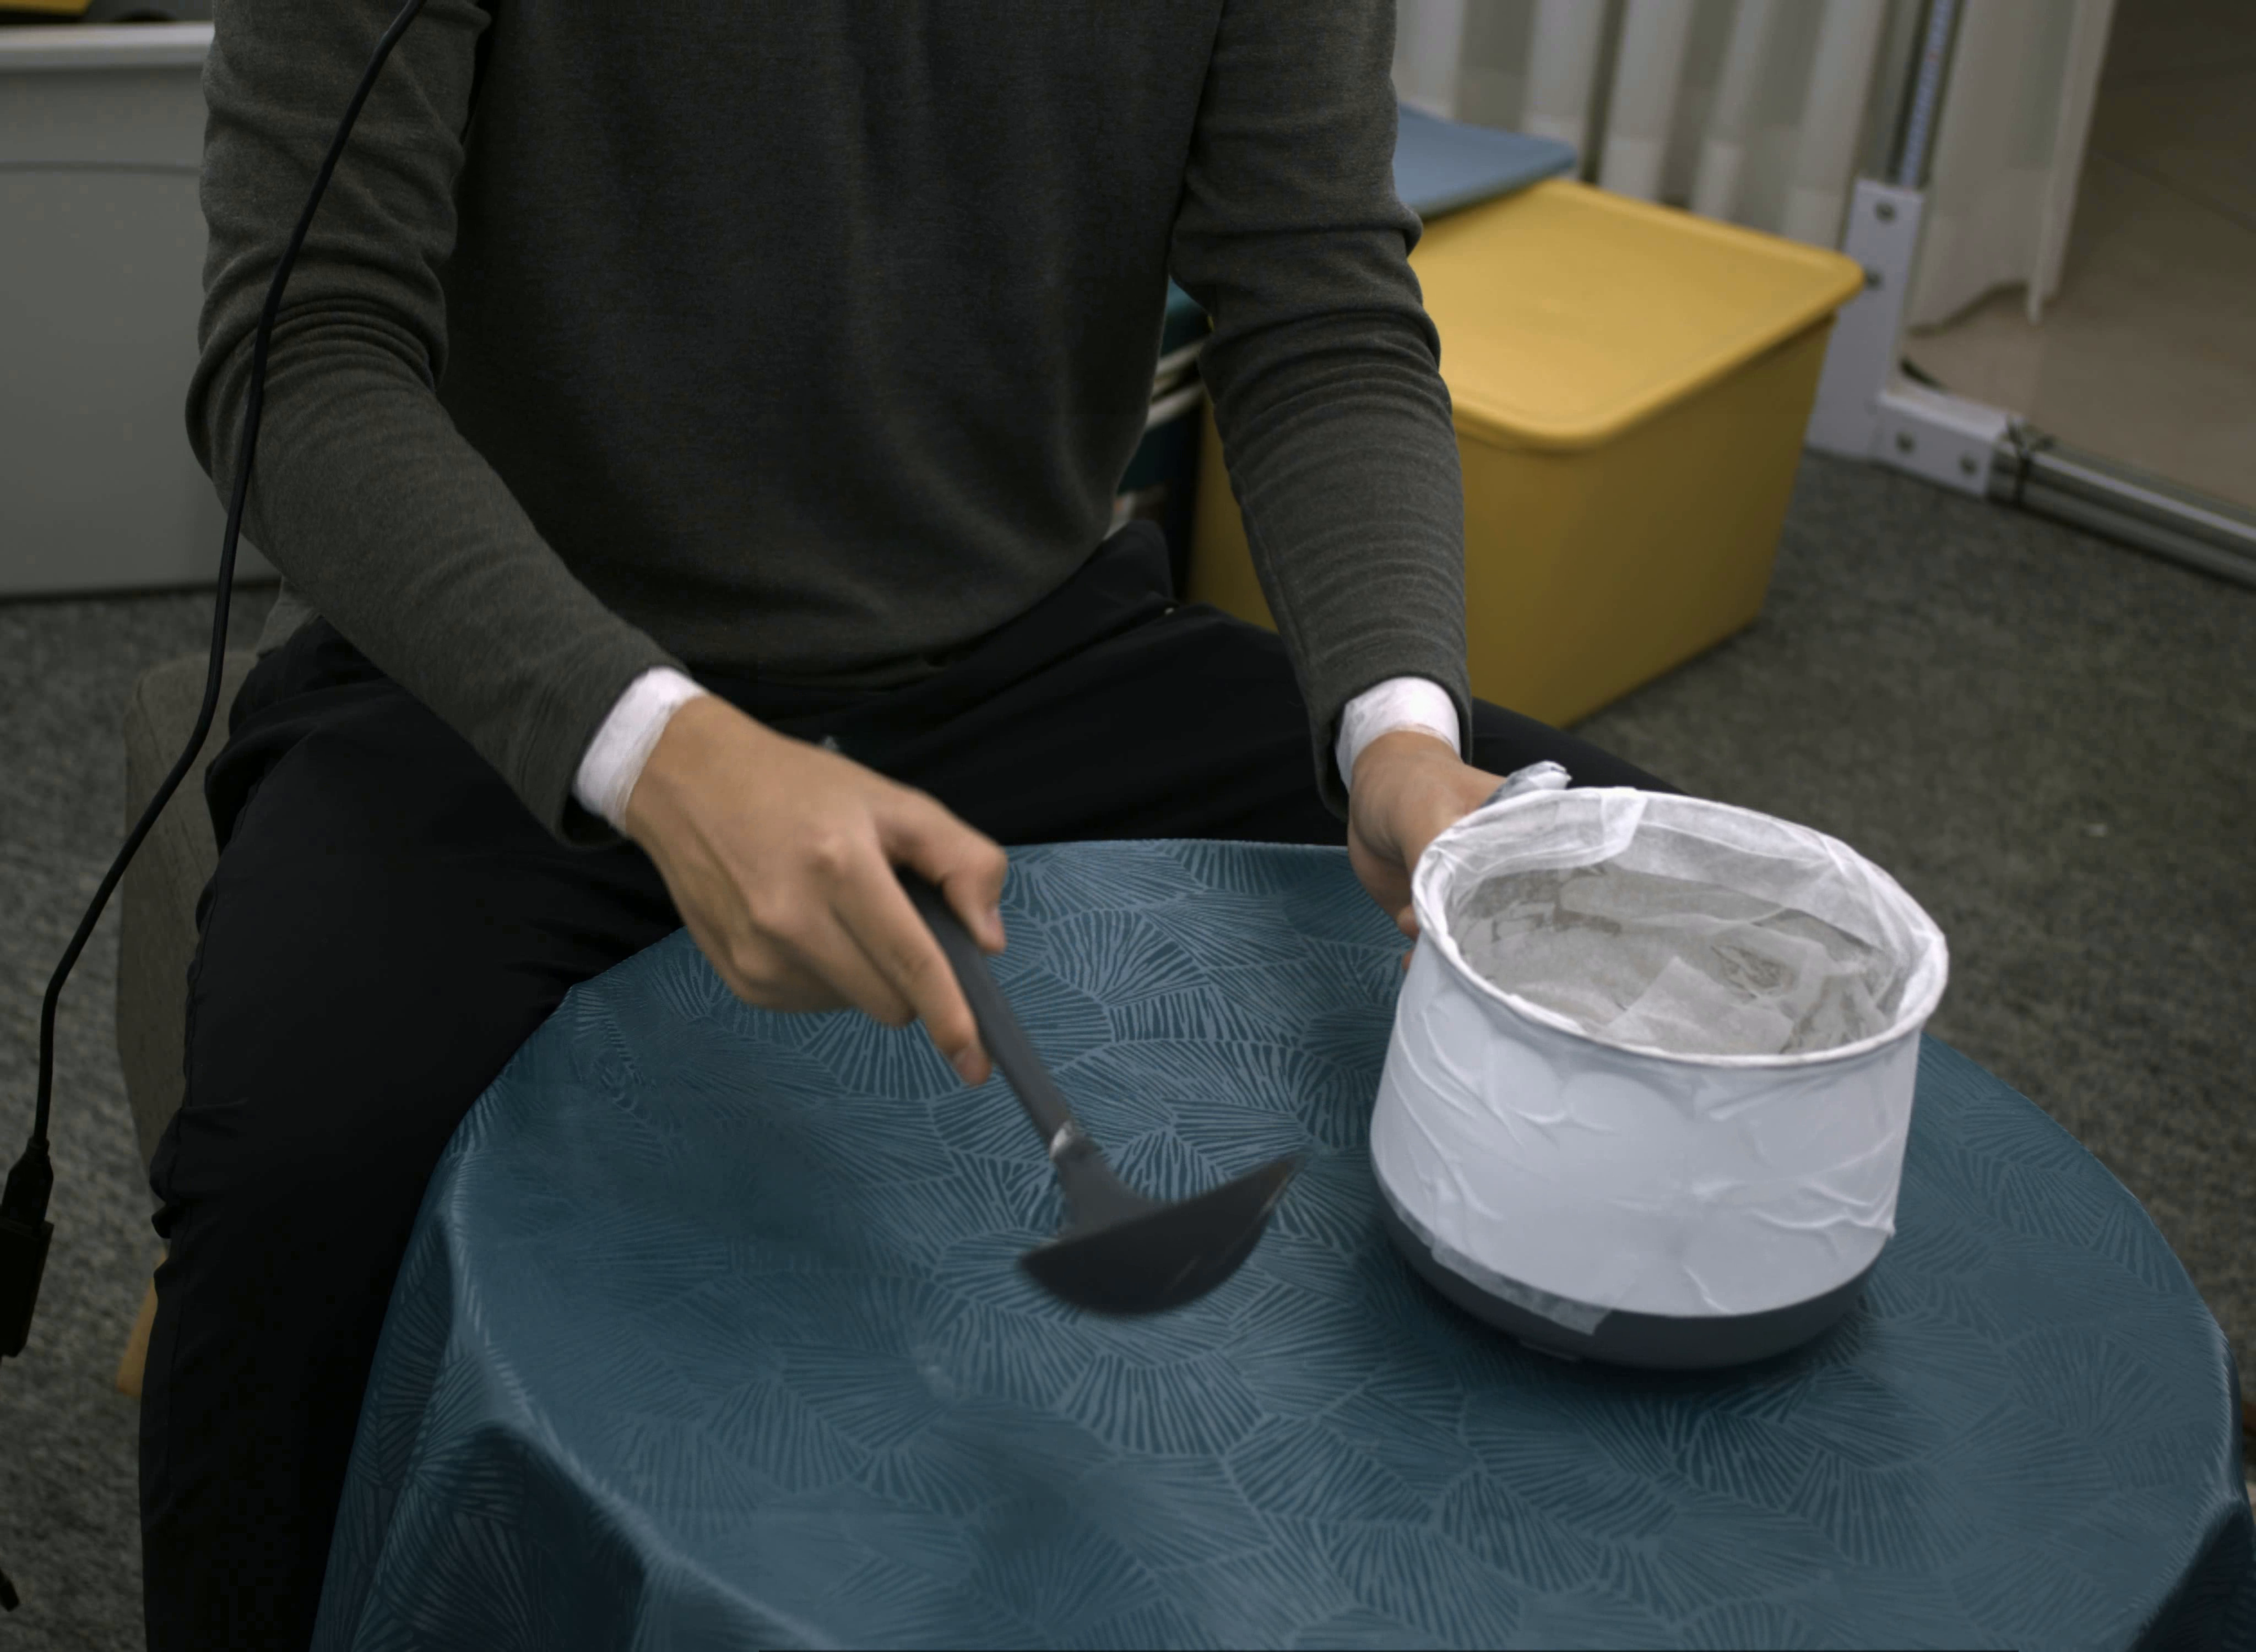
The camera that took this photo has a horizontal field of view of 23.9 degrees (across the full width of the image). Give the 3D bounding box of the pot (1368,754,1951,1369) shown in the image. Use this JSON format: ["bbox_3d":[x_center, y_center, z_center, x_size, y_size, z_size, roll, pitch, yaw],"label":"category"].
[{"bbox_3d":[0.161,0.071,1.782,0.177,0.136,0.236,-5,31,-23],"label":"pot"}]

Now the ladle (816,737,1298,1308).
[{"bbox_3d":[-0.040,0.045,1.696,0.086,0.063,0.317,-13,40,-19],"label":"ladle"}]
